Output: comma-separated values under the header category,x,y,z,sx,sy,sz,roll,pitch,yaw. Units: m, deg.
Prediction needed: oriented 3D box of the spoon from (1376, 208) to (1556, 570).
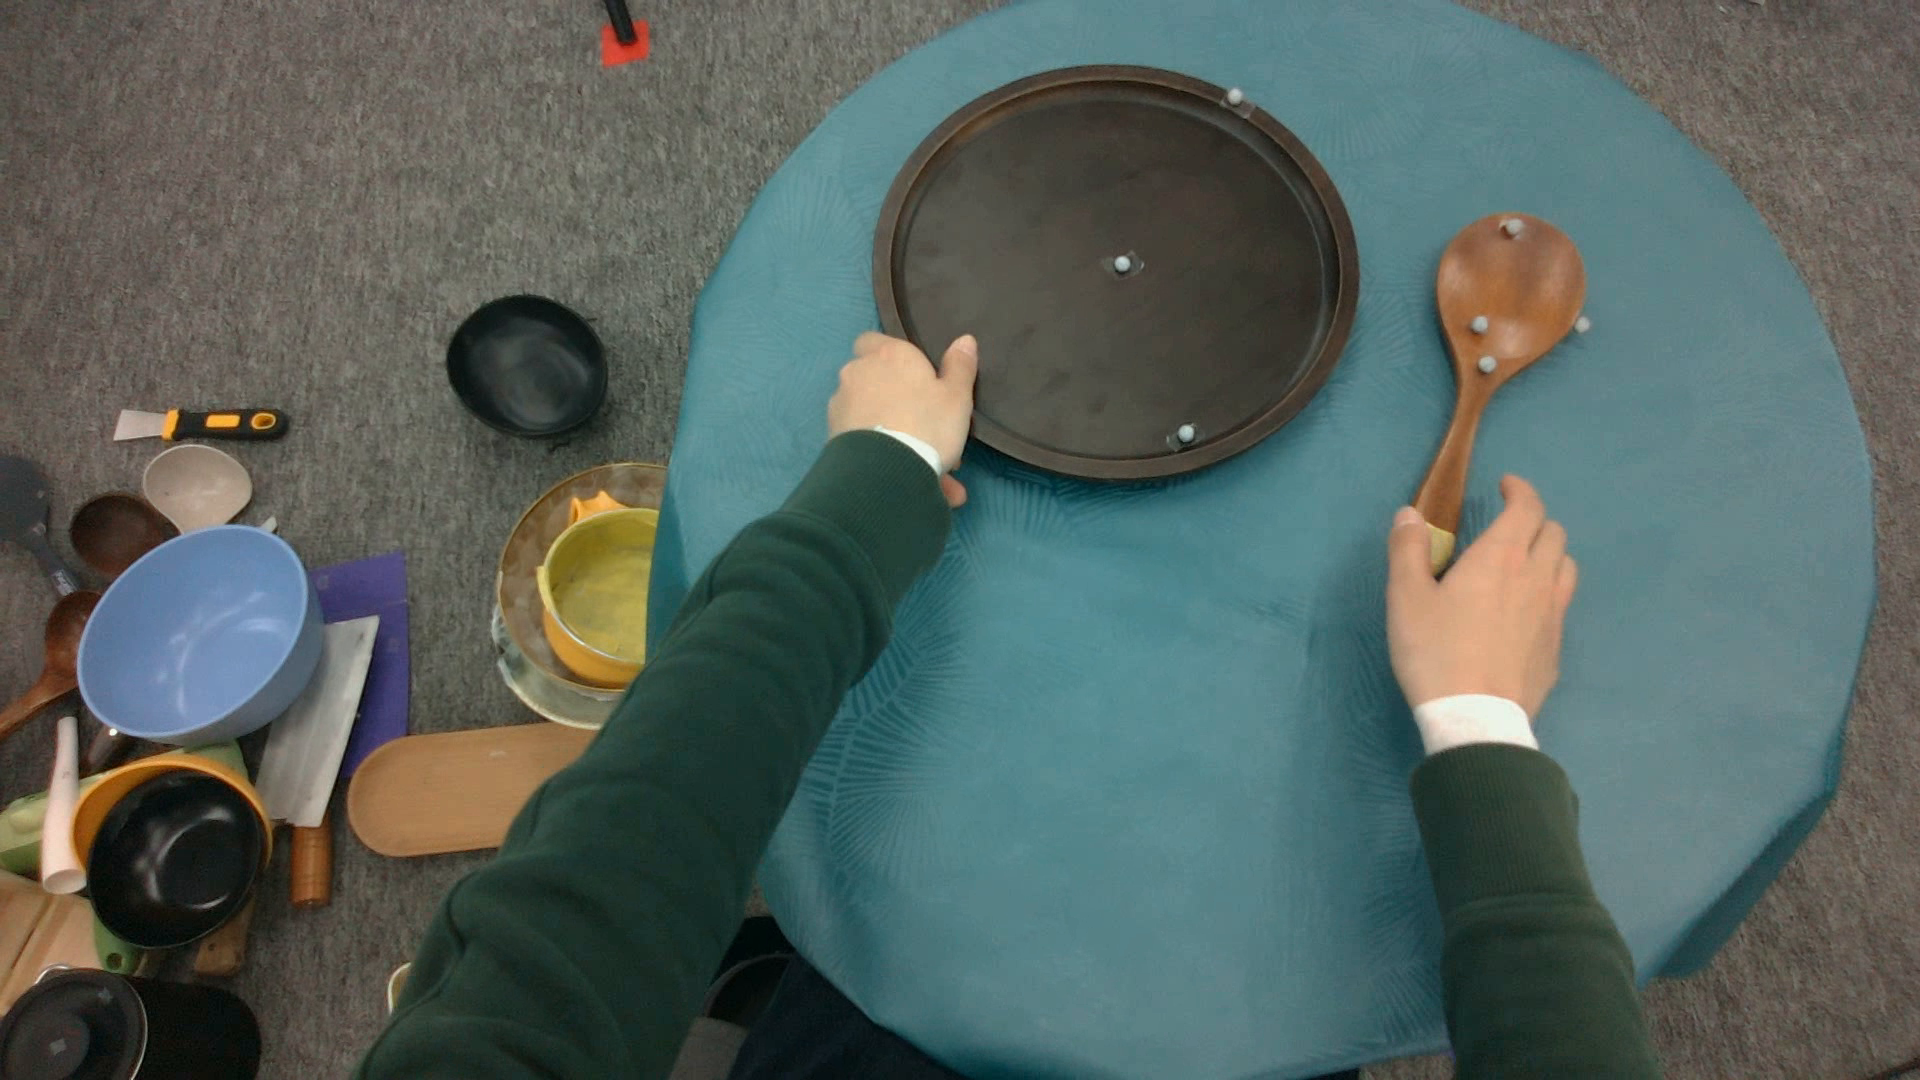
category,x,y,z,sx,sy,sz,roll,pitch,yaw
spoon,0.249,-0.080,0.697,0.075,0.017,0.216,20,68,8

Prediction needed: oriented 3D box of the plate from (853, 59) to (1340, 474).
category,x,y,z,sx,sy,sz,roll,pitch,yaw
plate,0.070,-0.148,0.724,0.255,0.029,0.255,0,66,1
